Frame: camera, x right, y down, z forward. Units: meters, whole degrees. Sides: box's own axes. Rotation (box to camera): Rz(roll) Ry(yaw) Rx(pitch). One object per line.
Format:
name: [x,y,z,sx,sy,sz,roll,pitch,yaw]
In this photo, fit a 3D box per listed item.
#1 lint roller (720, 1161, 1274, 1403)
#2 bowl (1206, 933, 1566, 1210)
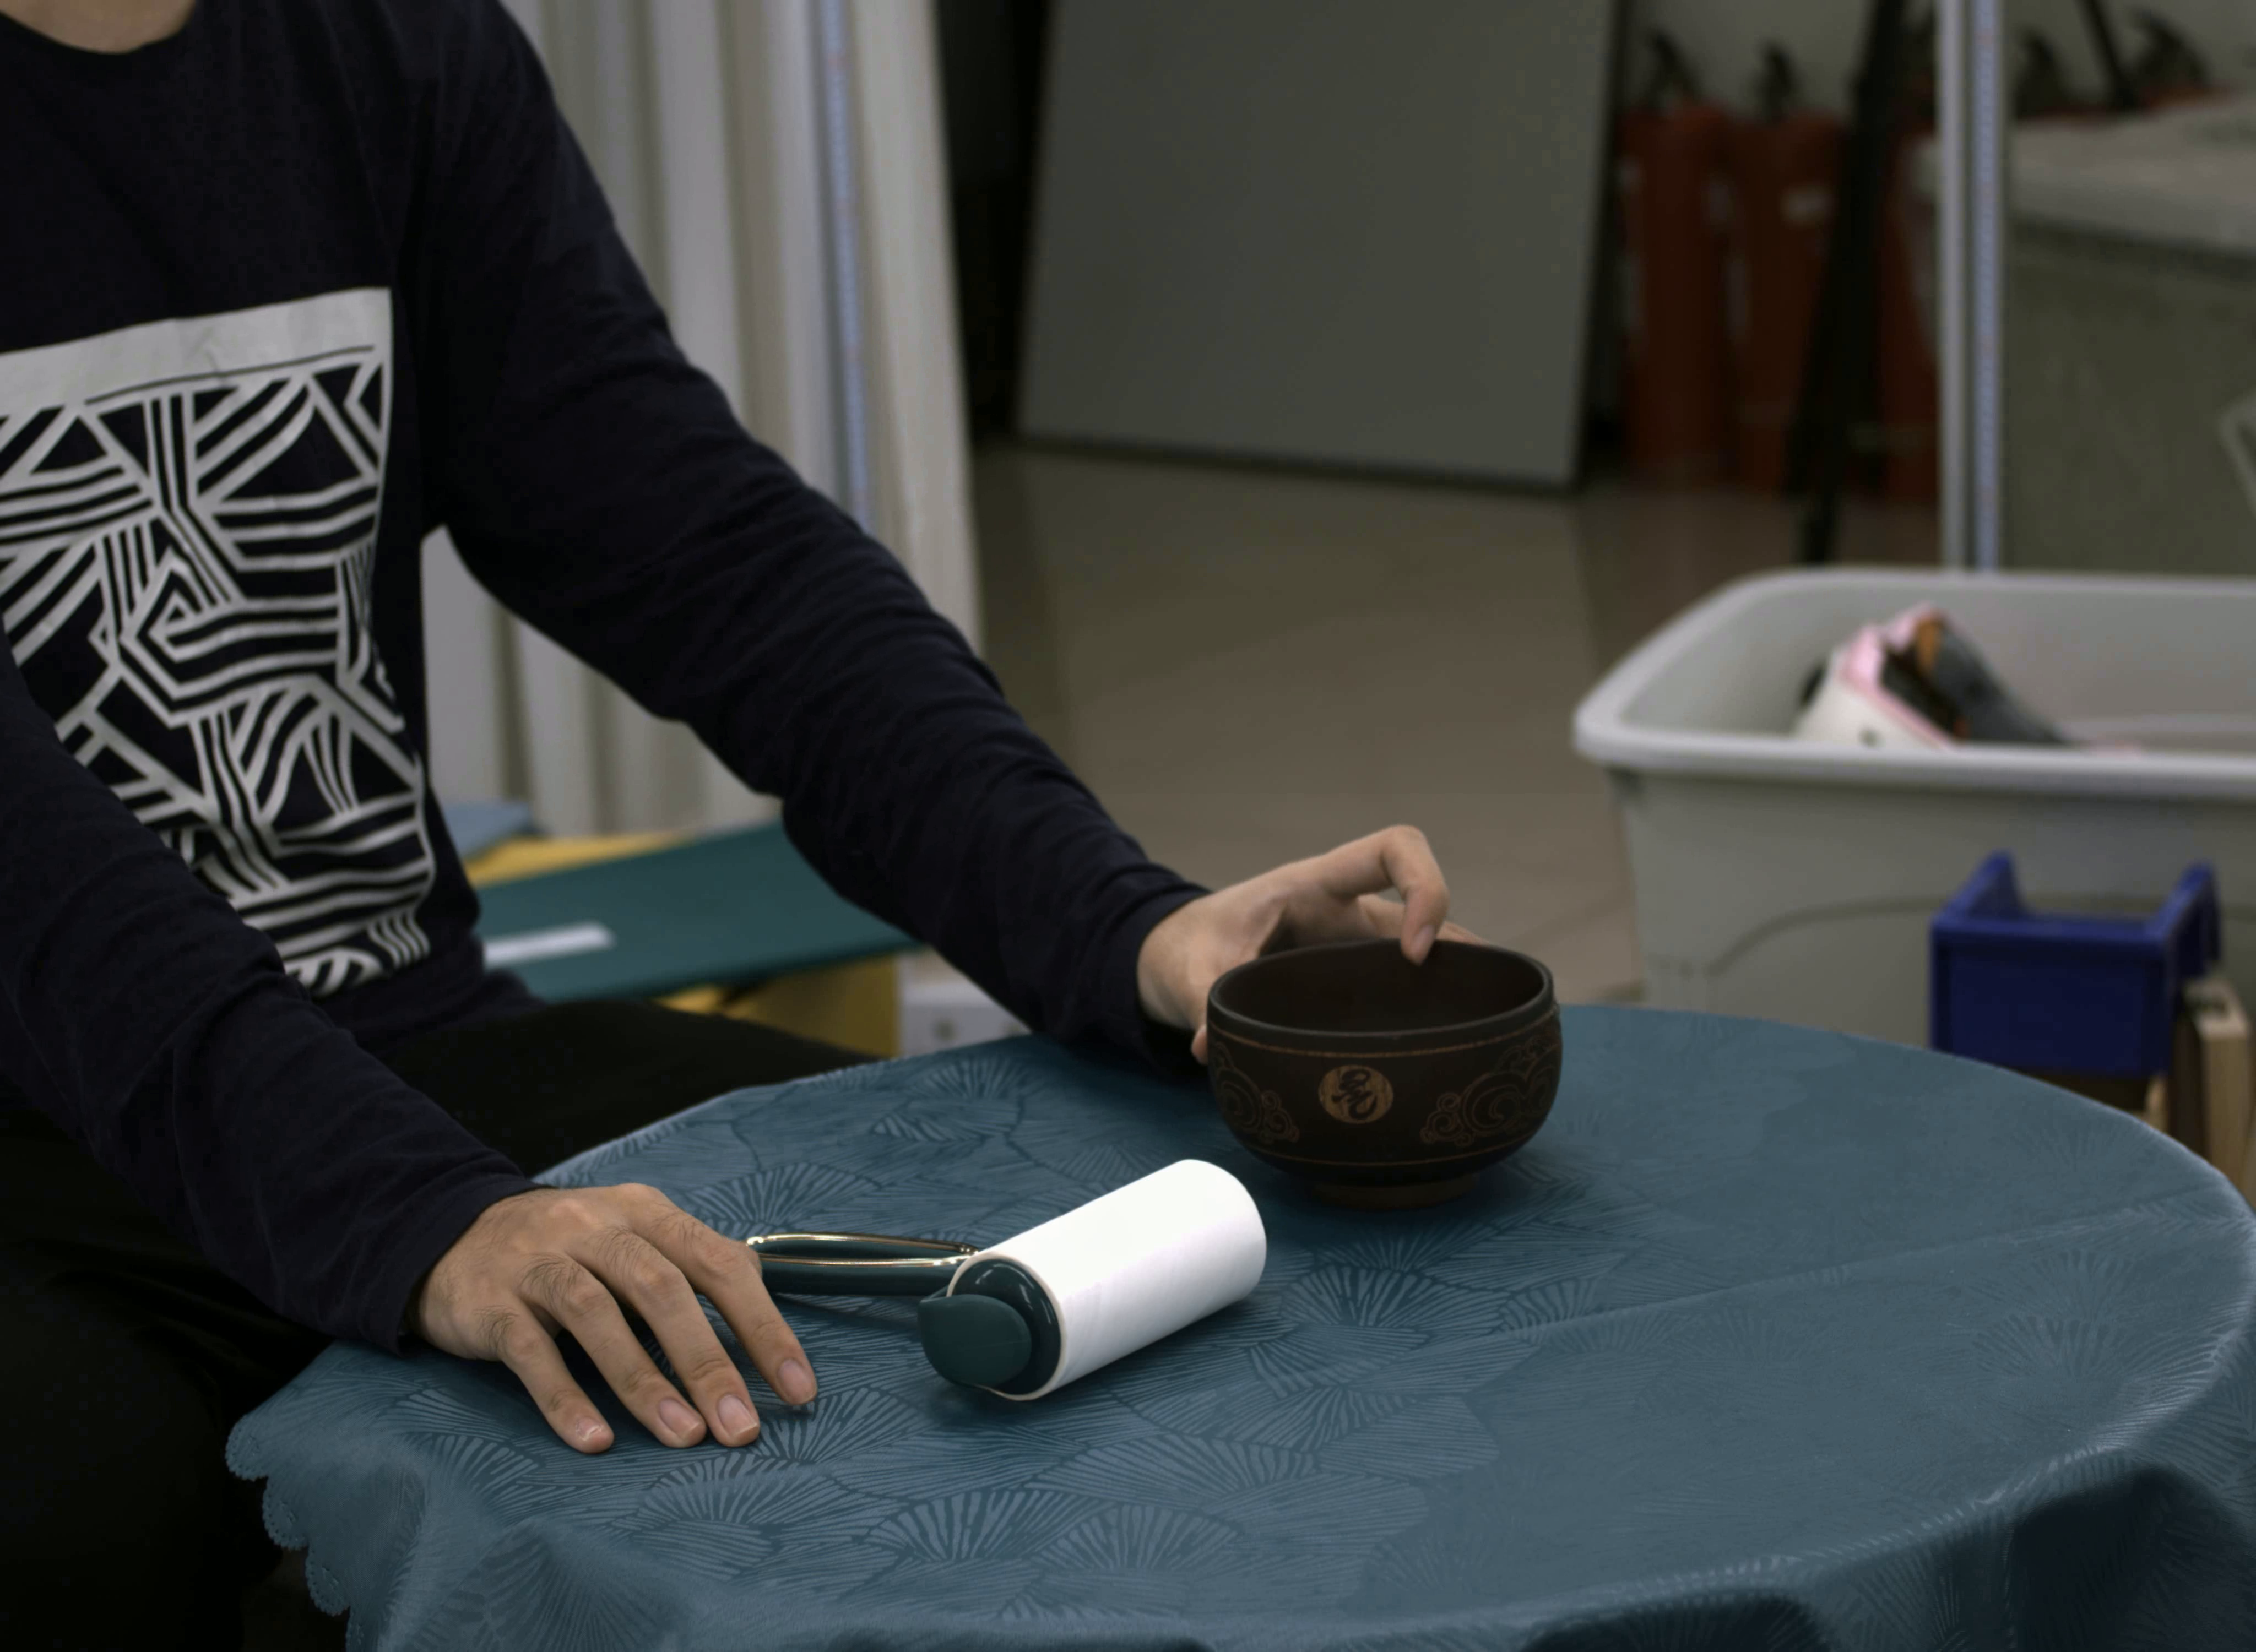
lint roller: [-0.058,0.133,1.658,0.181,0.049,0.132,3,15,39]
bowl: [0.086,0.083,1.753,0.116,0.070,0.118,-7,14,1]
